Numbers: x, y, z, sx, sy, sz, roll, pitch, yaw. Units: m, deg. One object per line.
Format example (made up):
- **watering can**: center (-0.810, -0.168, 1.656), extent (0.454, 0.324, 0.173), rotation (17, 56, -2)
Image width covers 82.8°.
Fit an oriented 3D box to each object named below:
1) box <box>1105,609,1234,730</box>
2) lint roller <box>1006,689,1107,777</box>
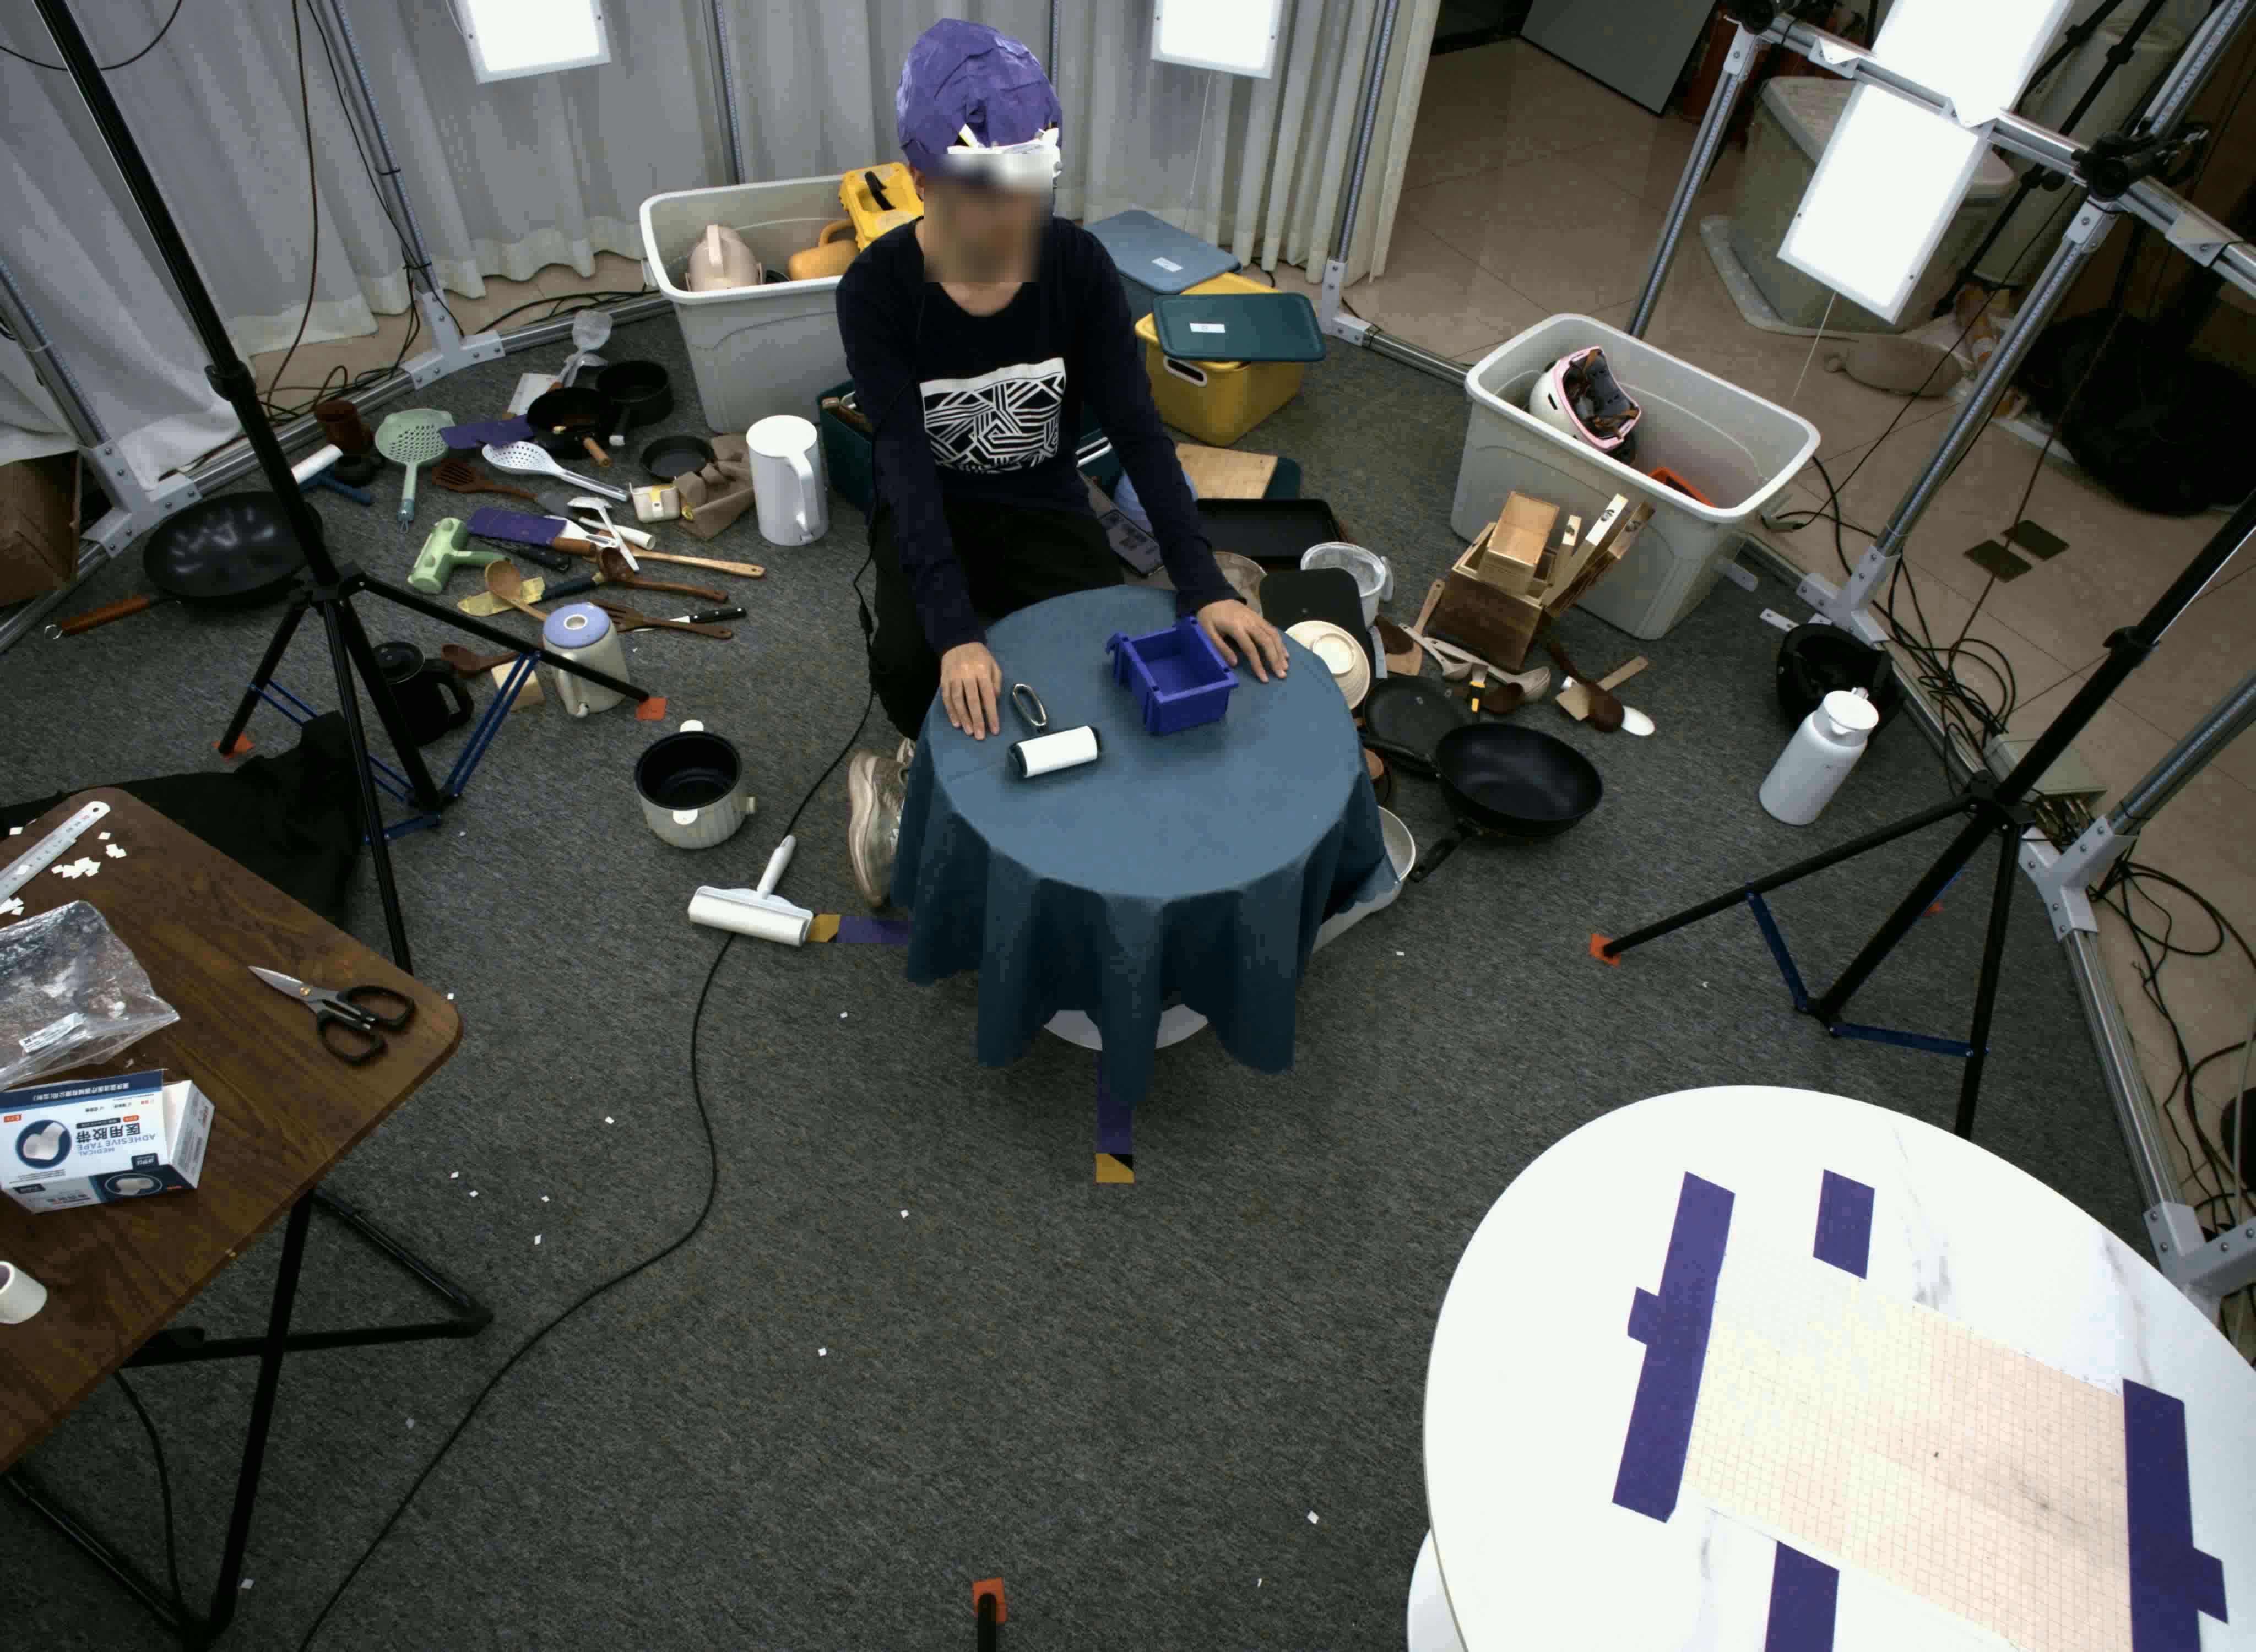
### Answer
- **box**: center (0.053, -0.226, 1.815), extent (0.124, 0.080, 0.183), rotation (-15, 54, -15)
- **lint roller**: center (-0.123, -0.146, 1.759), extent (0.134, 0.047, 0.184), rotation (-15, 49, -17)
